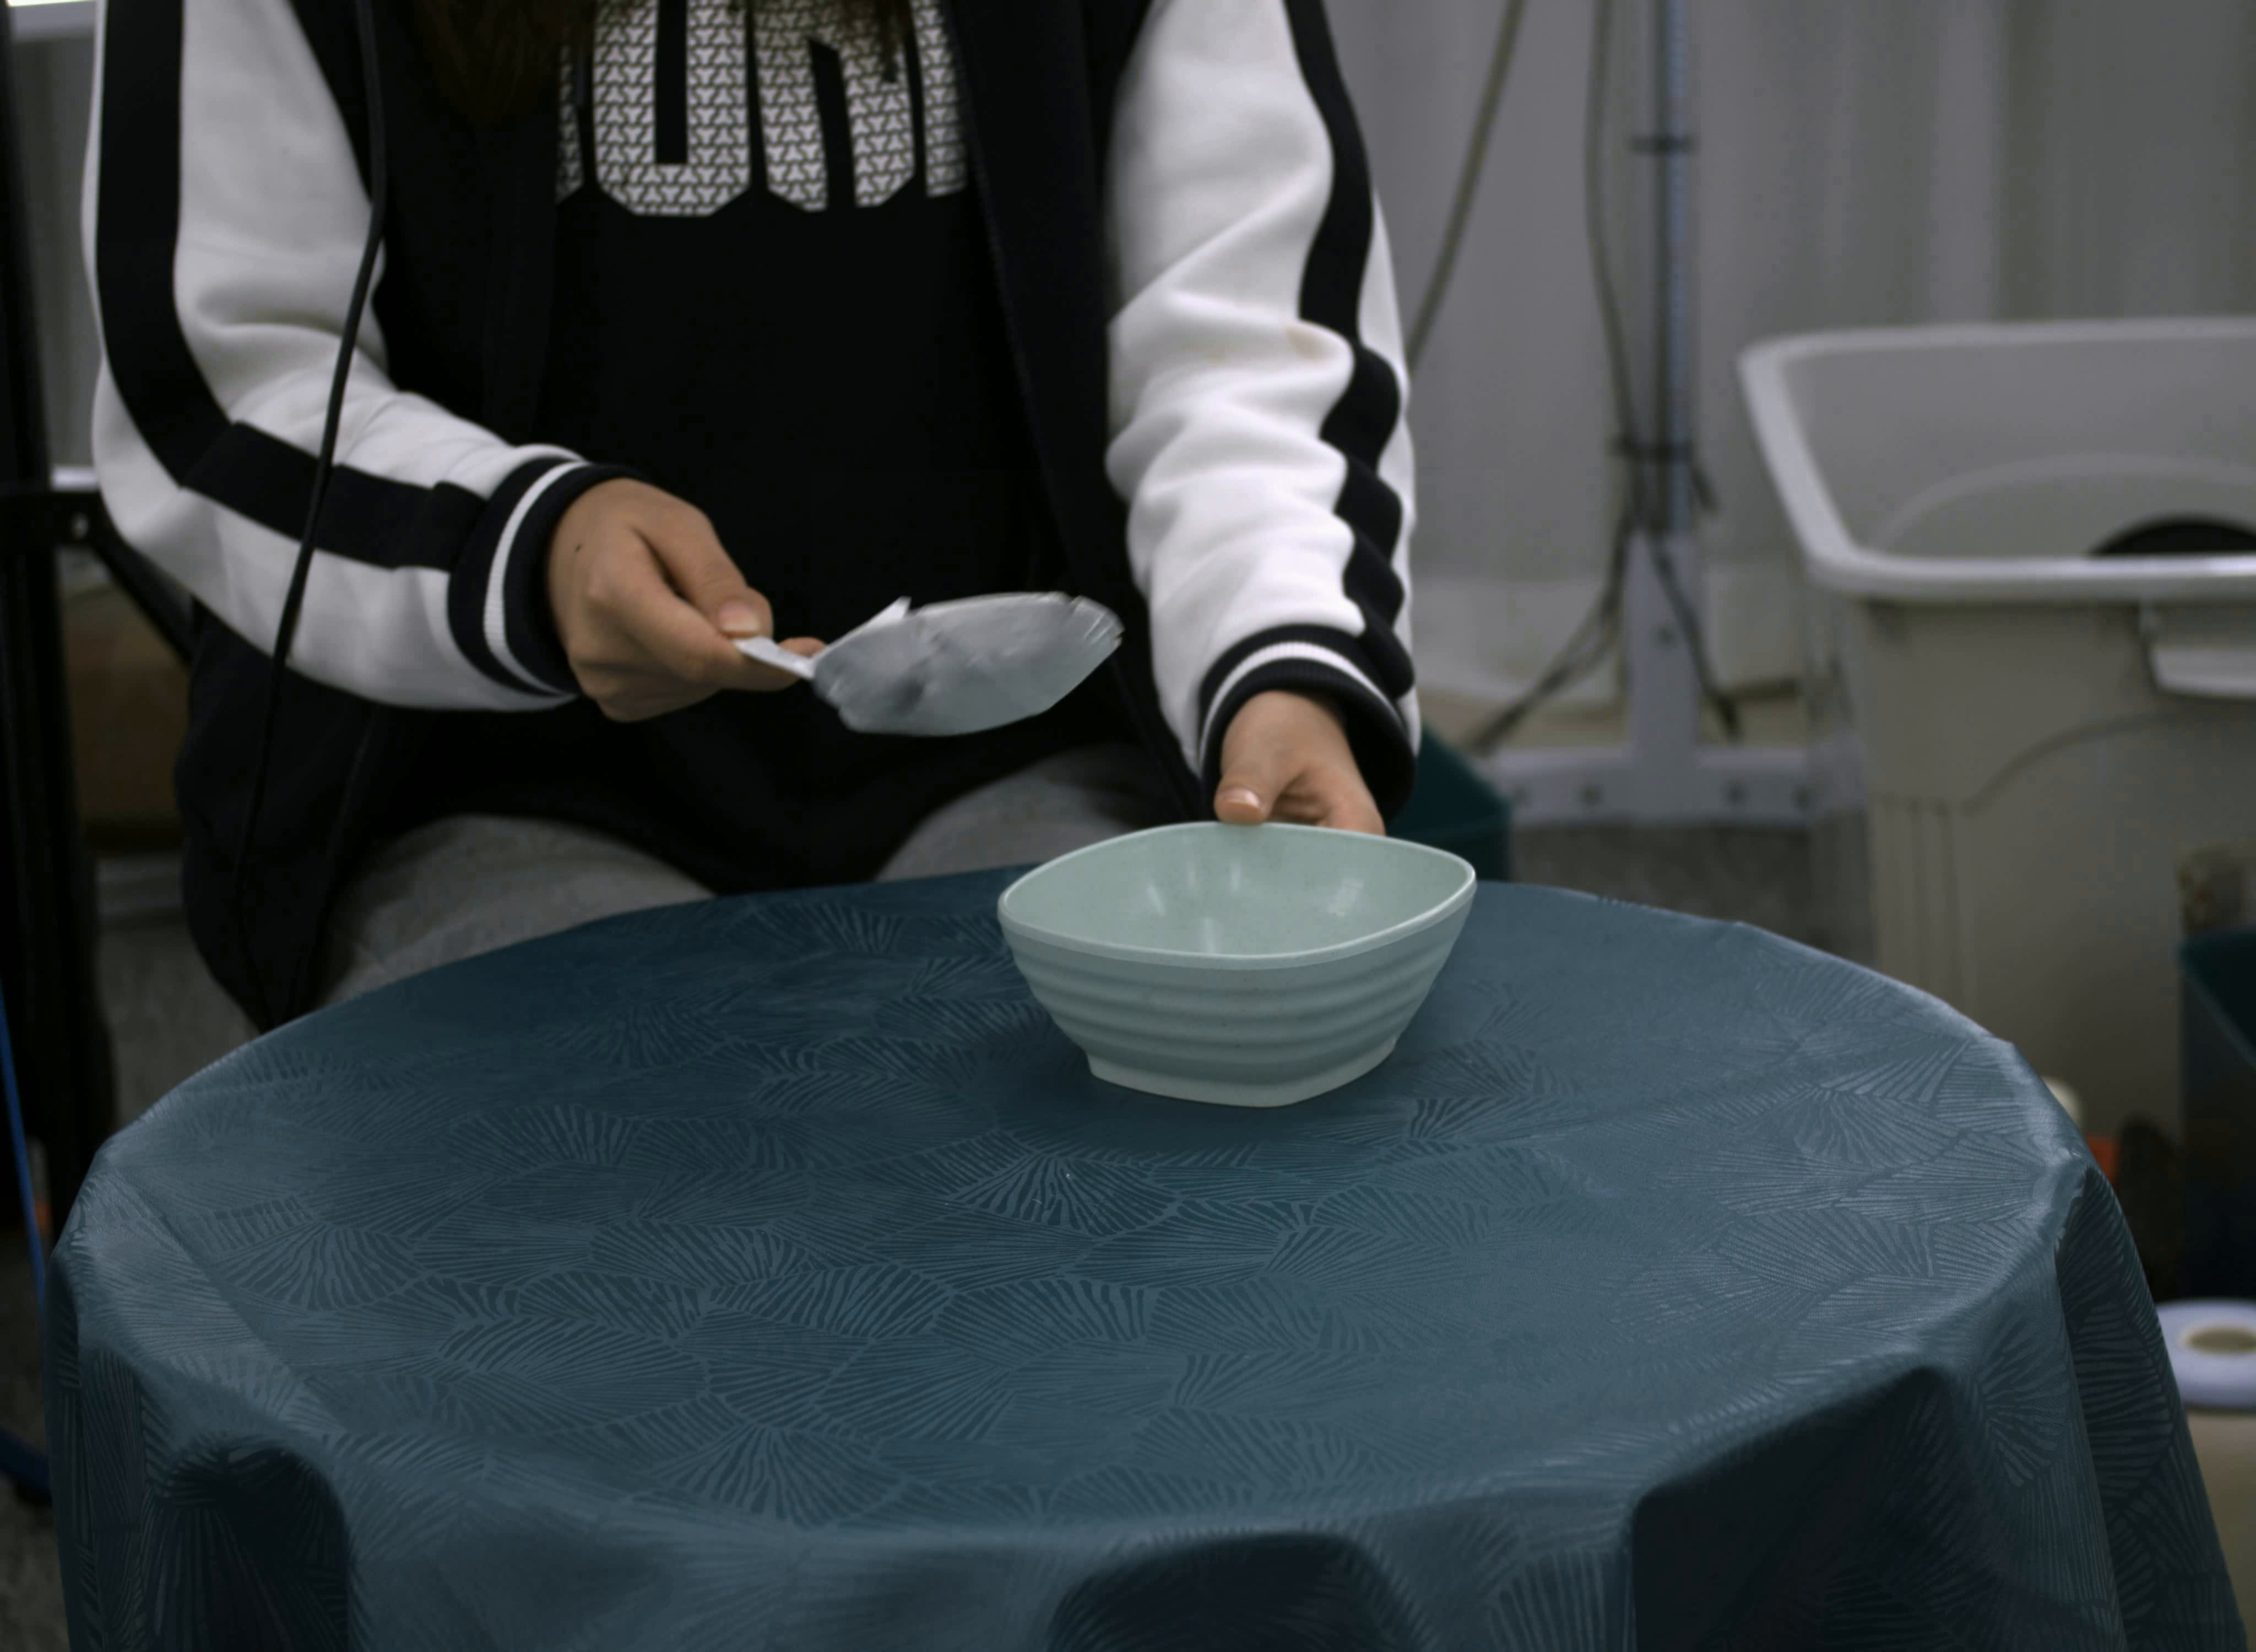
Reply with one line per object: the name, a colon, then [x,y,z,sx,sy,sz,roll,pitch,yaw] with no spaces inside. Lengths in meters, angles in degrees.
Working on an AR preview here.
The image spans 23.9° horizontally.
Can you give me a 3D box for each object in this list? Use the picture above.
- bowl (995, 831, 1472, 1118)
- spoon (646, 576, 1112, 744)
bowl: [0.034,0.049,1.664,0.150,0.058,0.152,-3,15,-1]
spoon: [-0.091,-0.072,1.684,0.098,0.059,0.283,4,12,-26]
